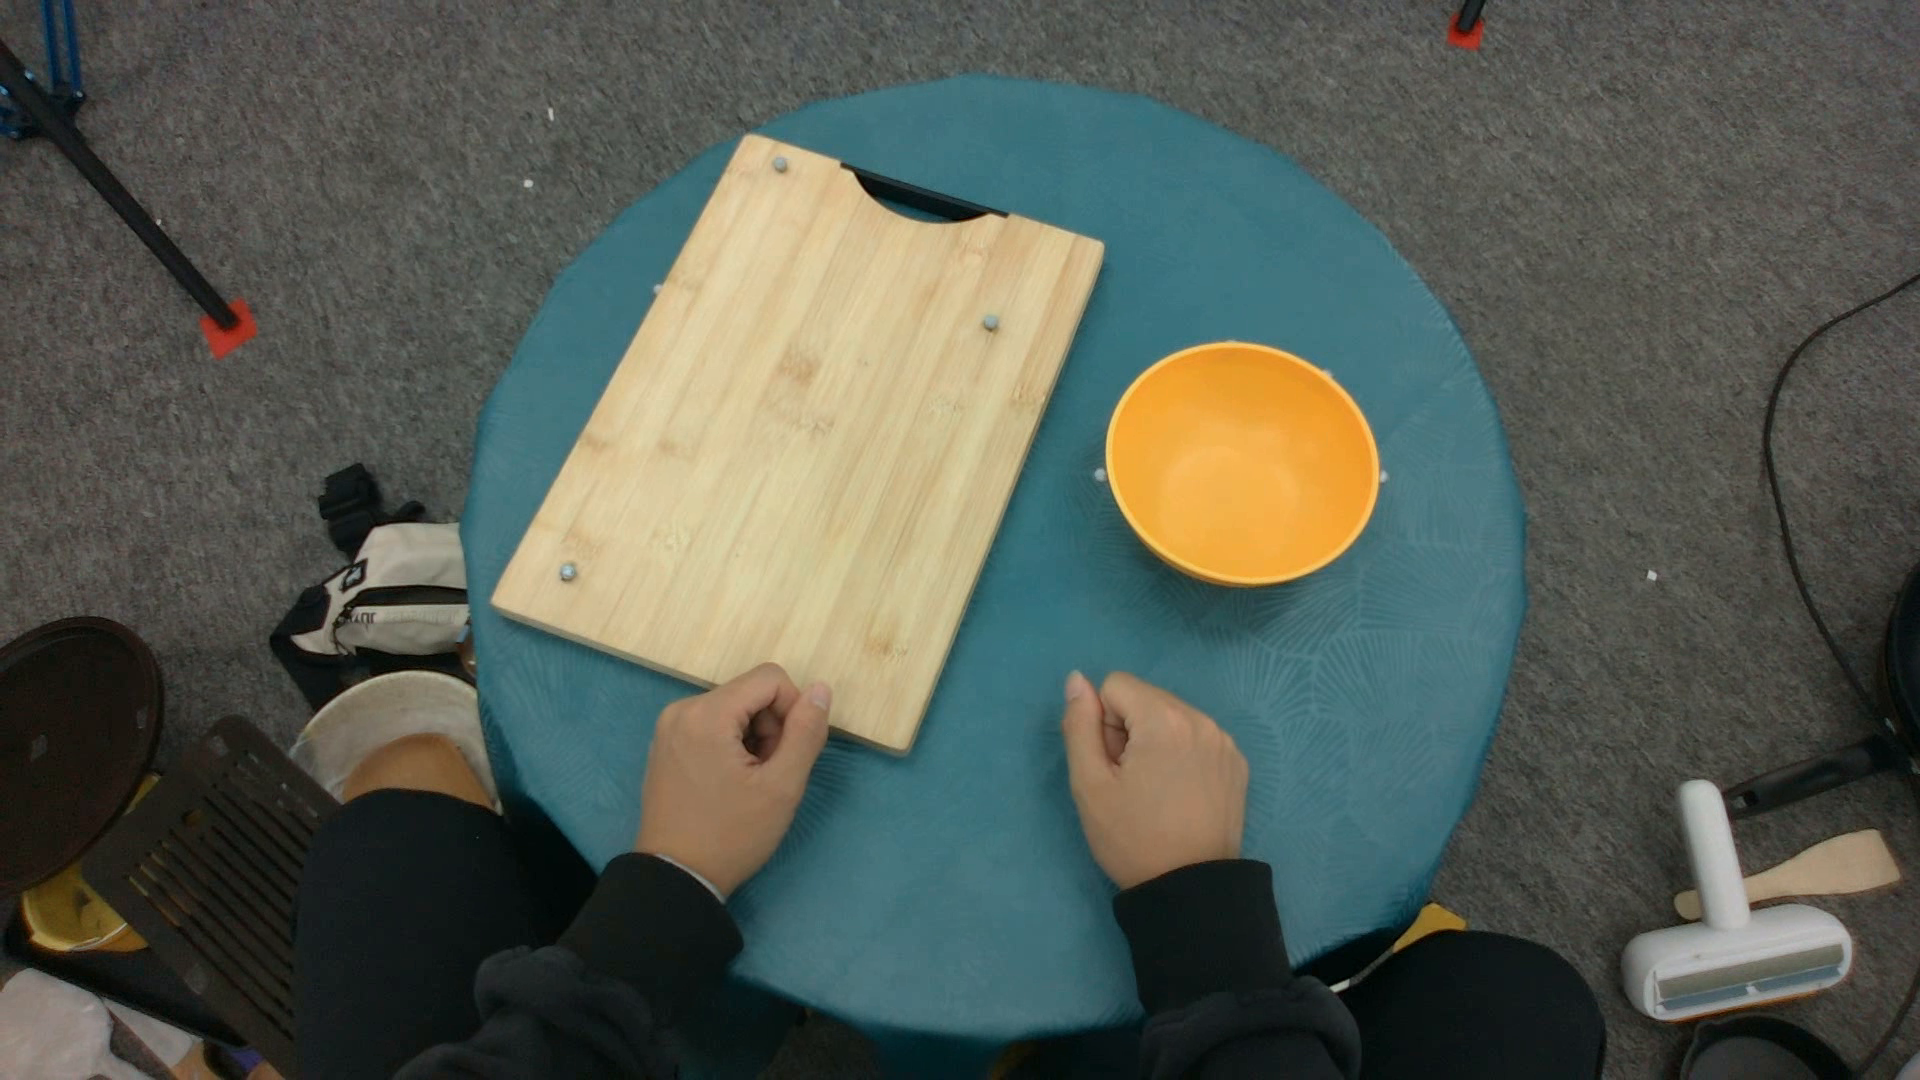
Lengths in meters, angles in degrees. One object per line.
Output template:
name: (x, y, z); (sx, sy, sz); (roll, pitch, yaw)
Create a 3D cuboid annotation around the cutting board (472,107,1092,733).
cutting board: (-0.092, -0.085, 0.796); (0.250, 0.023, 0.350); (18, 67, 6)

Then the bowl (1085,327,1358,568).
bowl: (0.140, -0.042, 0.761); (0.145, 0.060, 0.146); (-1, 66, 2)
